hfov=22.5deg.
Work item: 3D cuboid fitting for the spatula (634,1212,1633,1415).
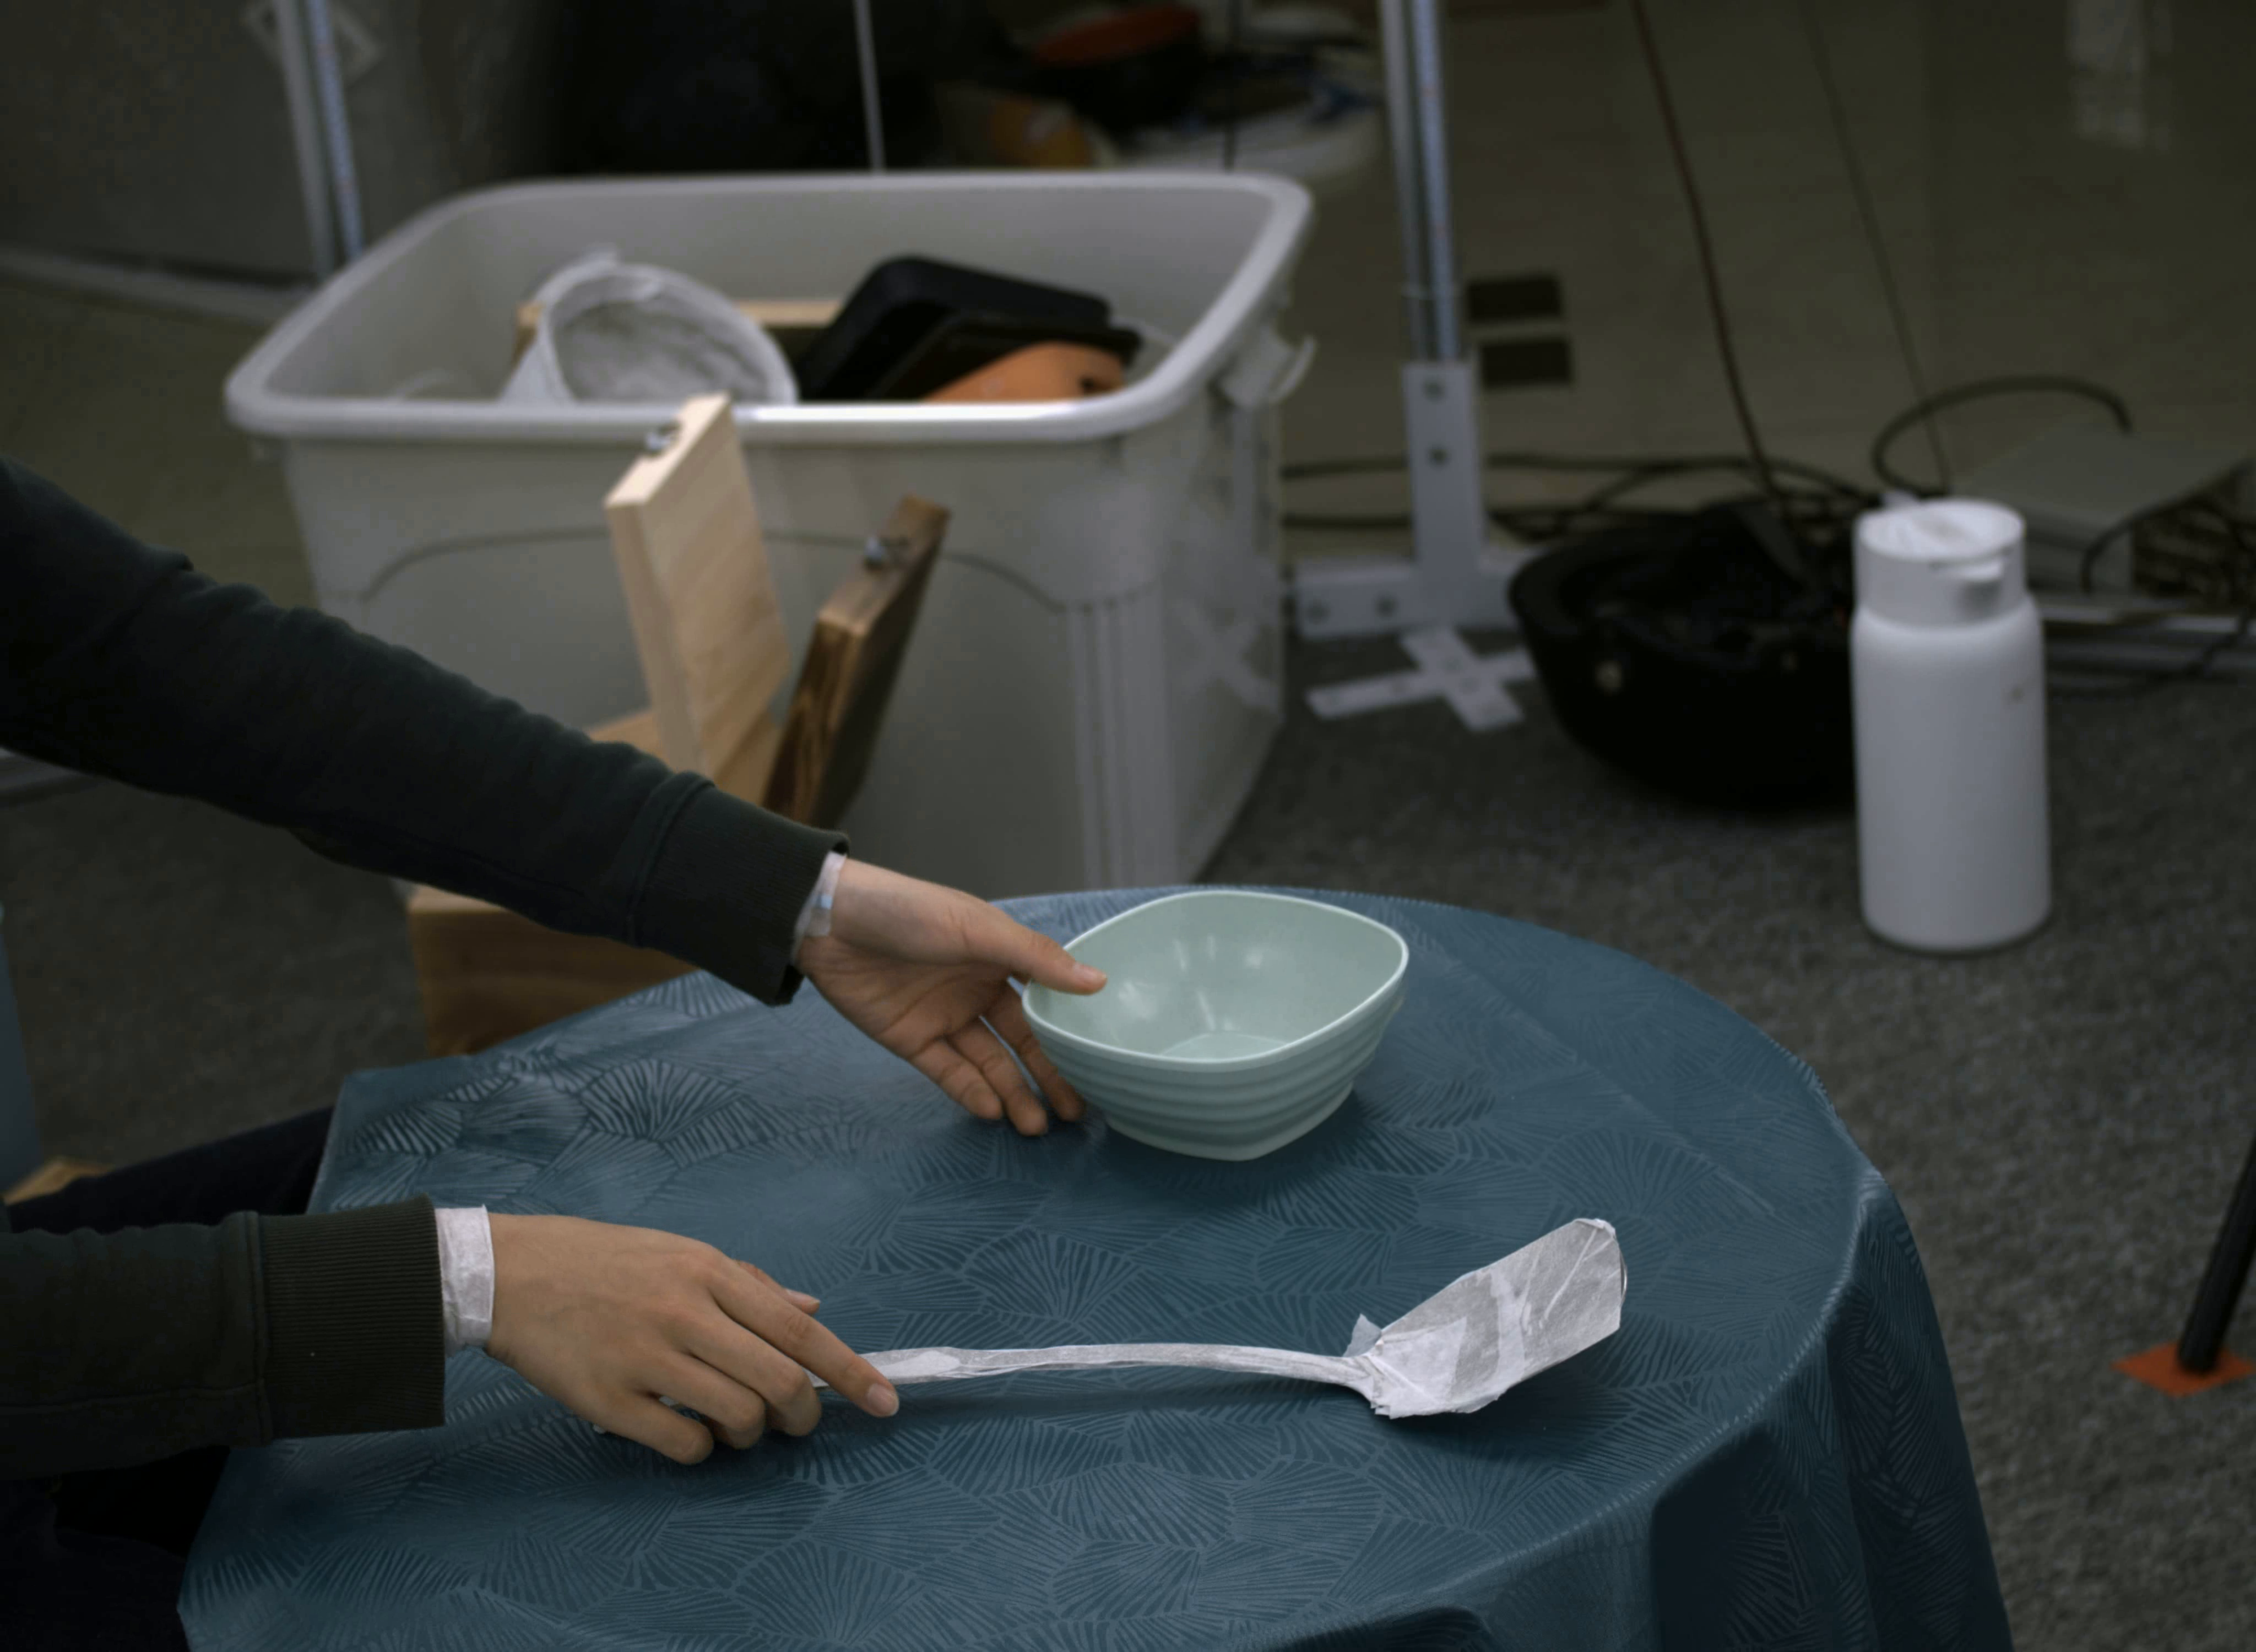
[{"bbox_3d":[-0.002,0.183,2.012,0.364,0.045,0.097,-3,27,7],"label":"spatula"}]

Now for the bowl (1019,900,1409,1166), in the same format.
[{"bbox_3d":[0.035,0.085,2.195,0.151,0.059,0.149,-3,24,1],"label":"bowl"}]
